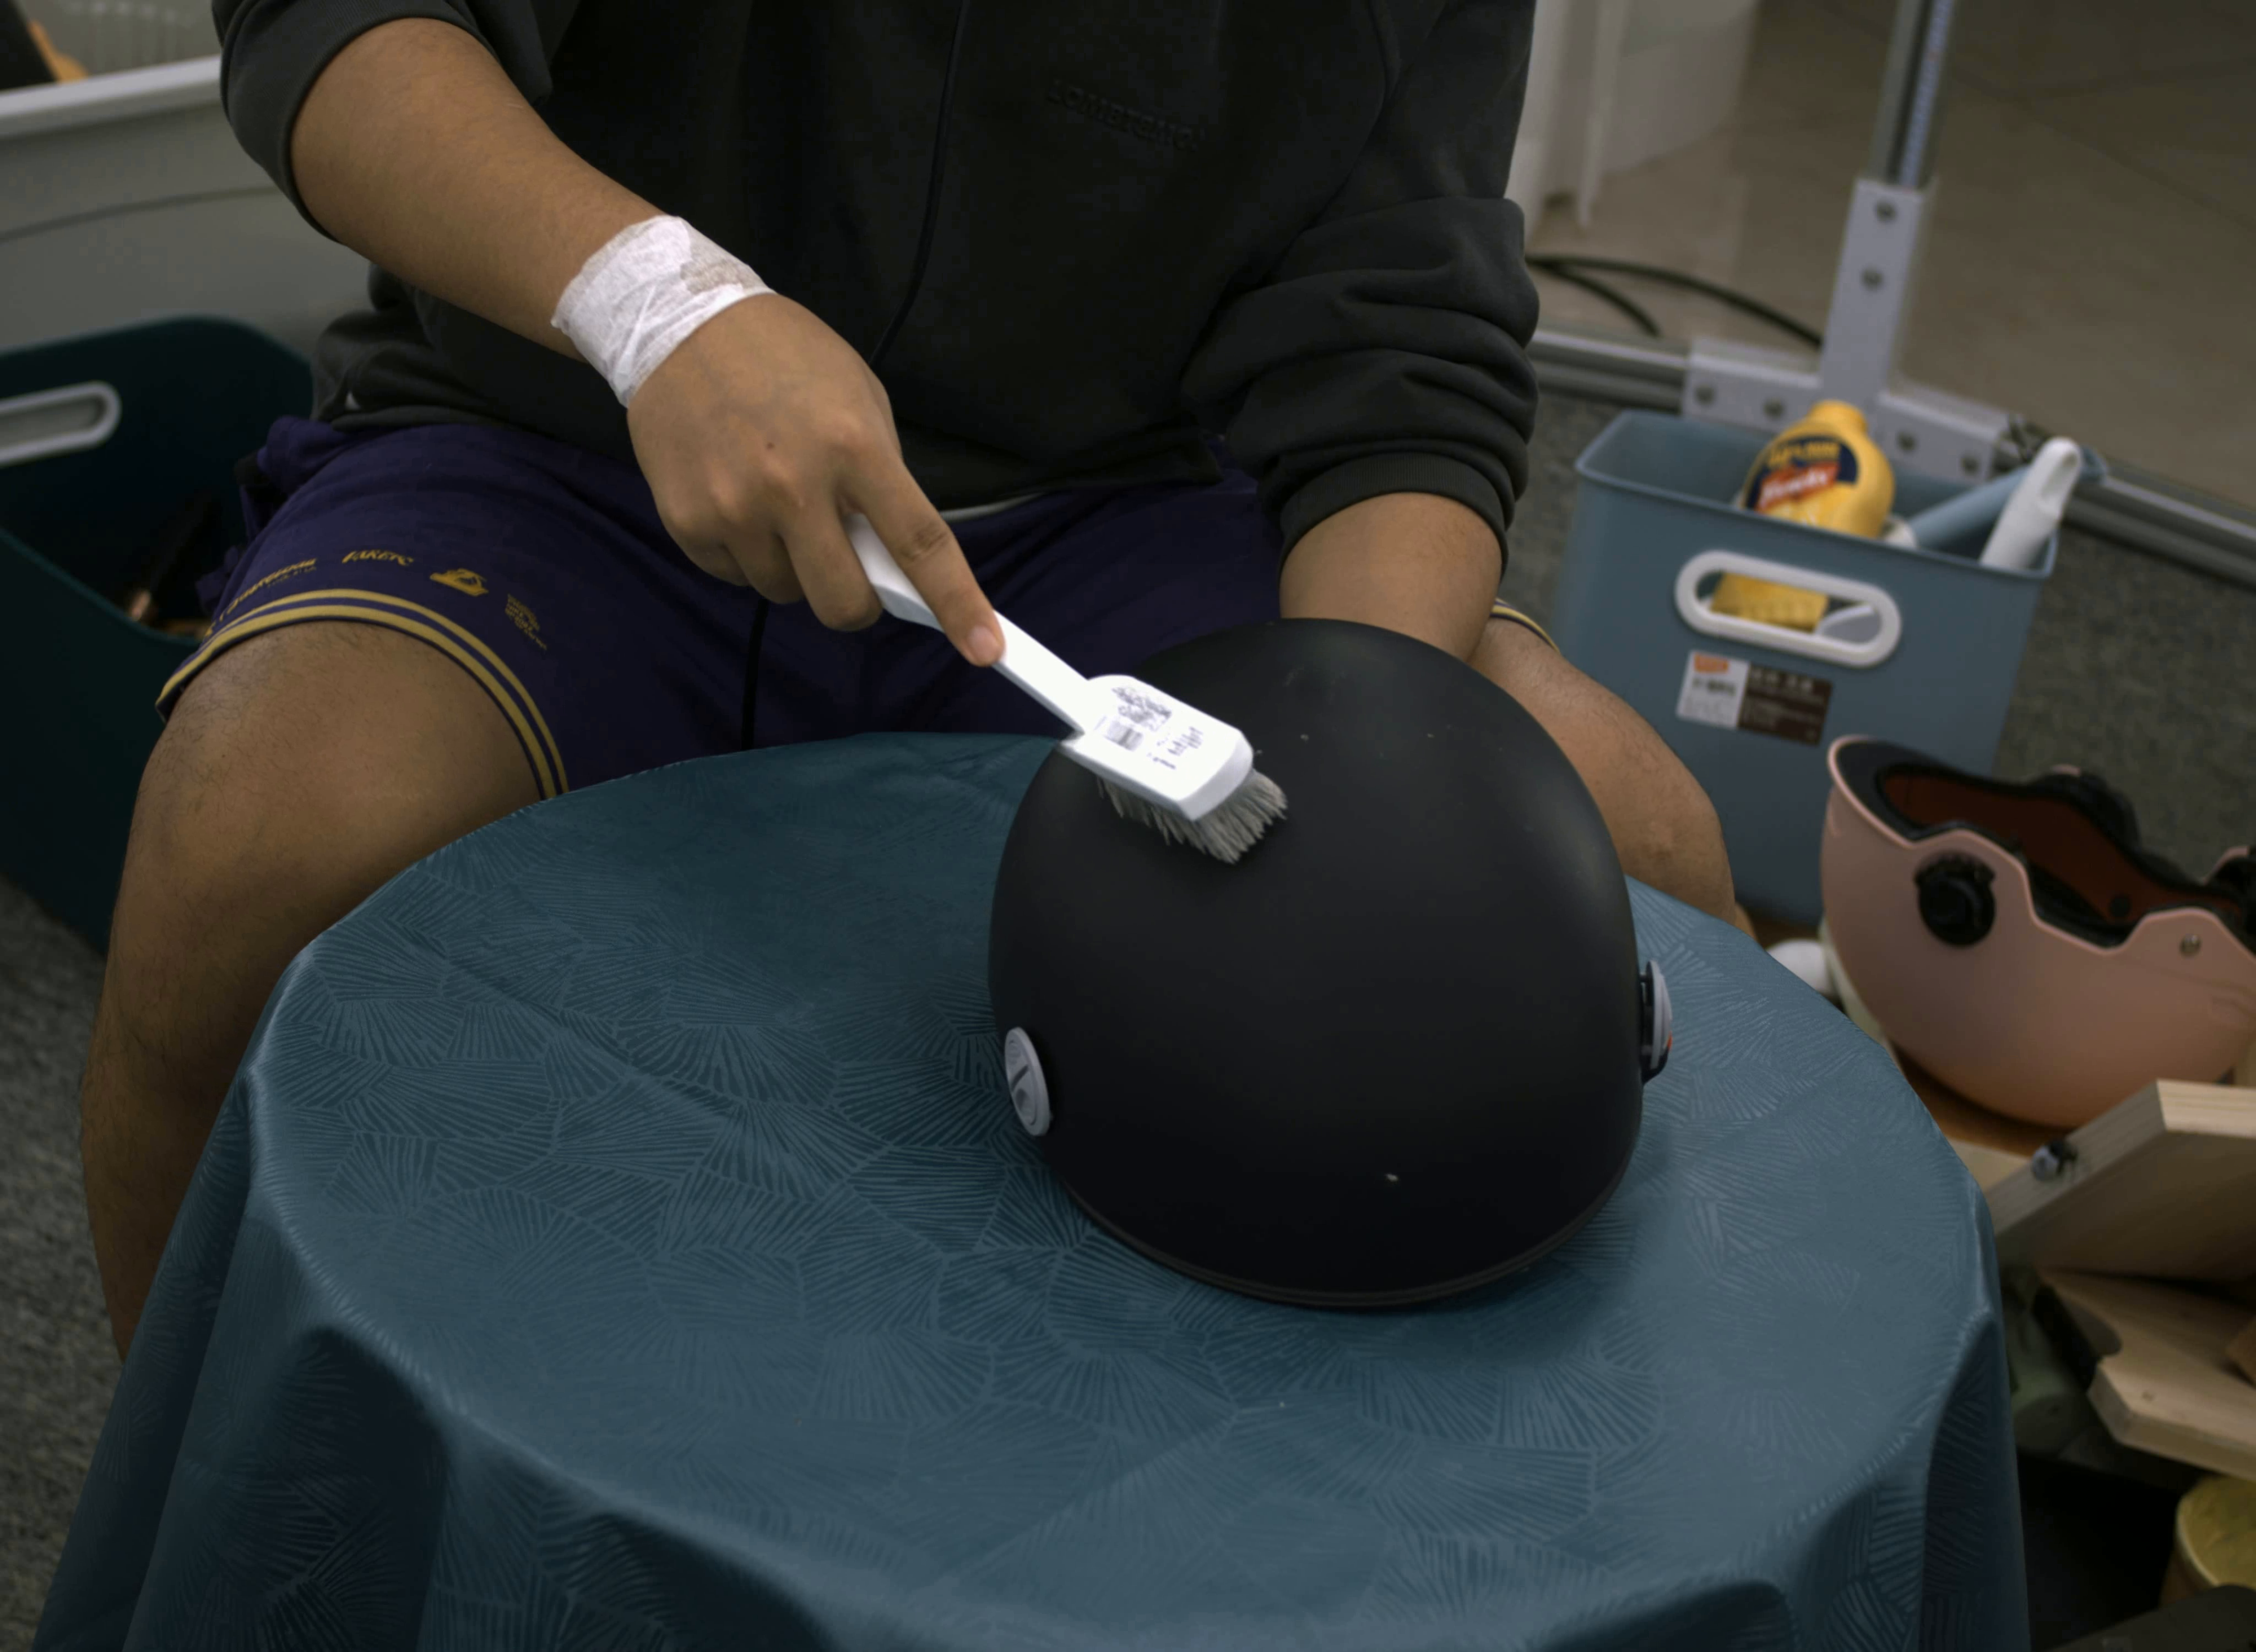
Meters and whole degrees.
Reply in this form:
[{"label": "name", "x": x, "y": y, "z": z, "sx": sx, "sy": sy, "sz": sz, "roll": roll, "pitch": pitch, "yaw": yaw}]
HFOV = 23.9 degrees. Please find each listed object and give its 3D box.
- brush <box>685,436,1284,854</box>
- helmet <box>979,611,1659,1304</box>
[{"label": "brush", "x": -0.050, "y": -0.061, "z": 1.776, "sx": 0.245, "sy": 0.050, "sz": 0.034, "roll": 31, "pitch": 73, "yaw": 26}, {"label": "helmet", "x": 0.063, "y": 0.025, "z": 1.819, "sx": 0.229, "sy": 0.166, "sz": 0.275, "roll": -5, "pitch": 32, "yaw": -6}]
